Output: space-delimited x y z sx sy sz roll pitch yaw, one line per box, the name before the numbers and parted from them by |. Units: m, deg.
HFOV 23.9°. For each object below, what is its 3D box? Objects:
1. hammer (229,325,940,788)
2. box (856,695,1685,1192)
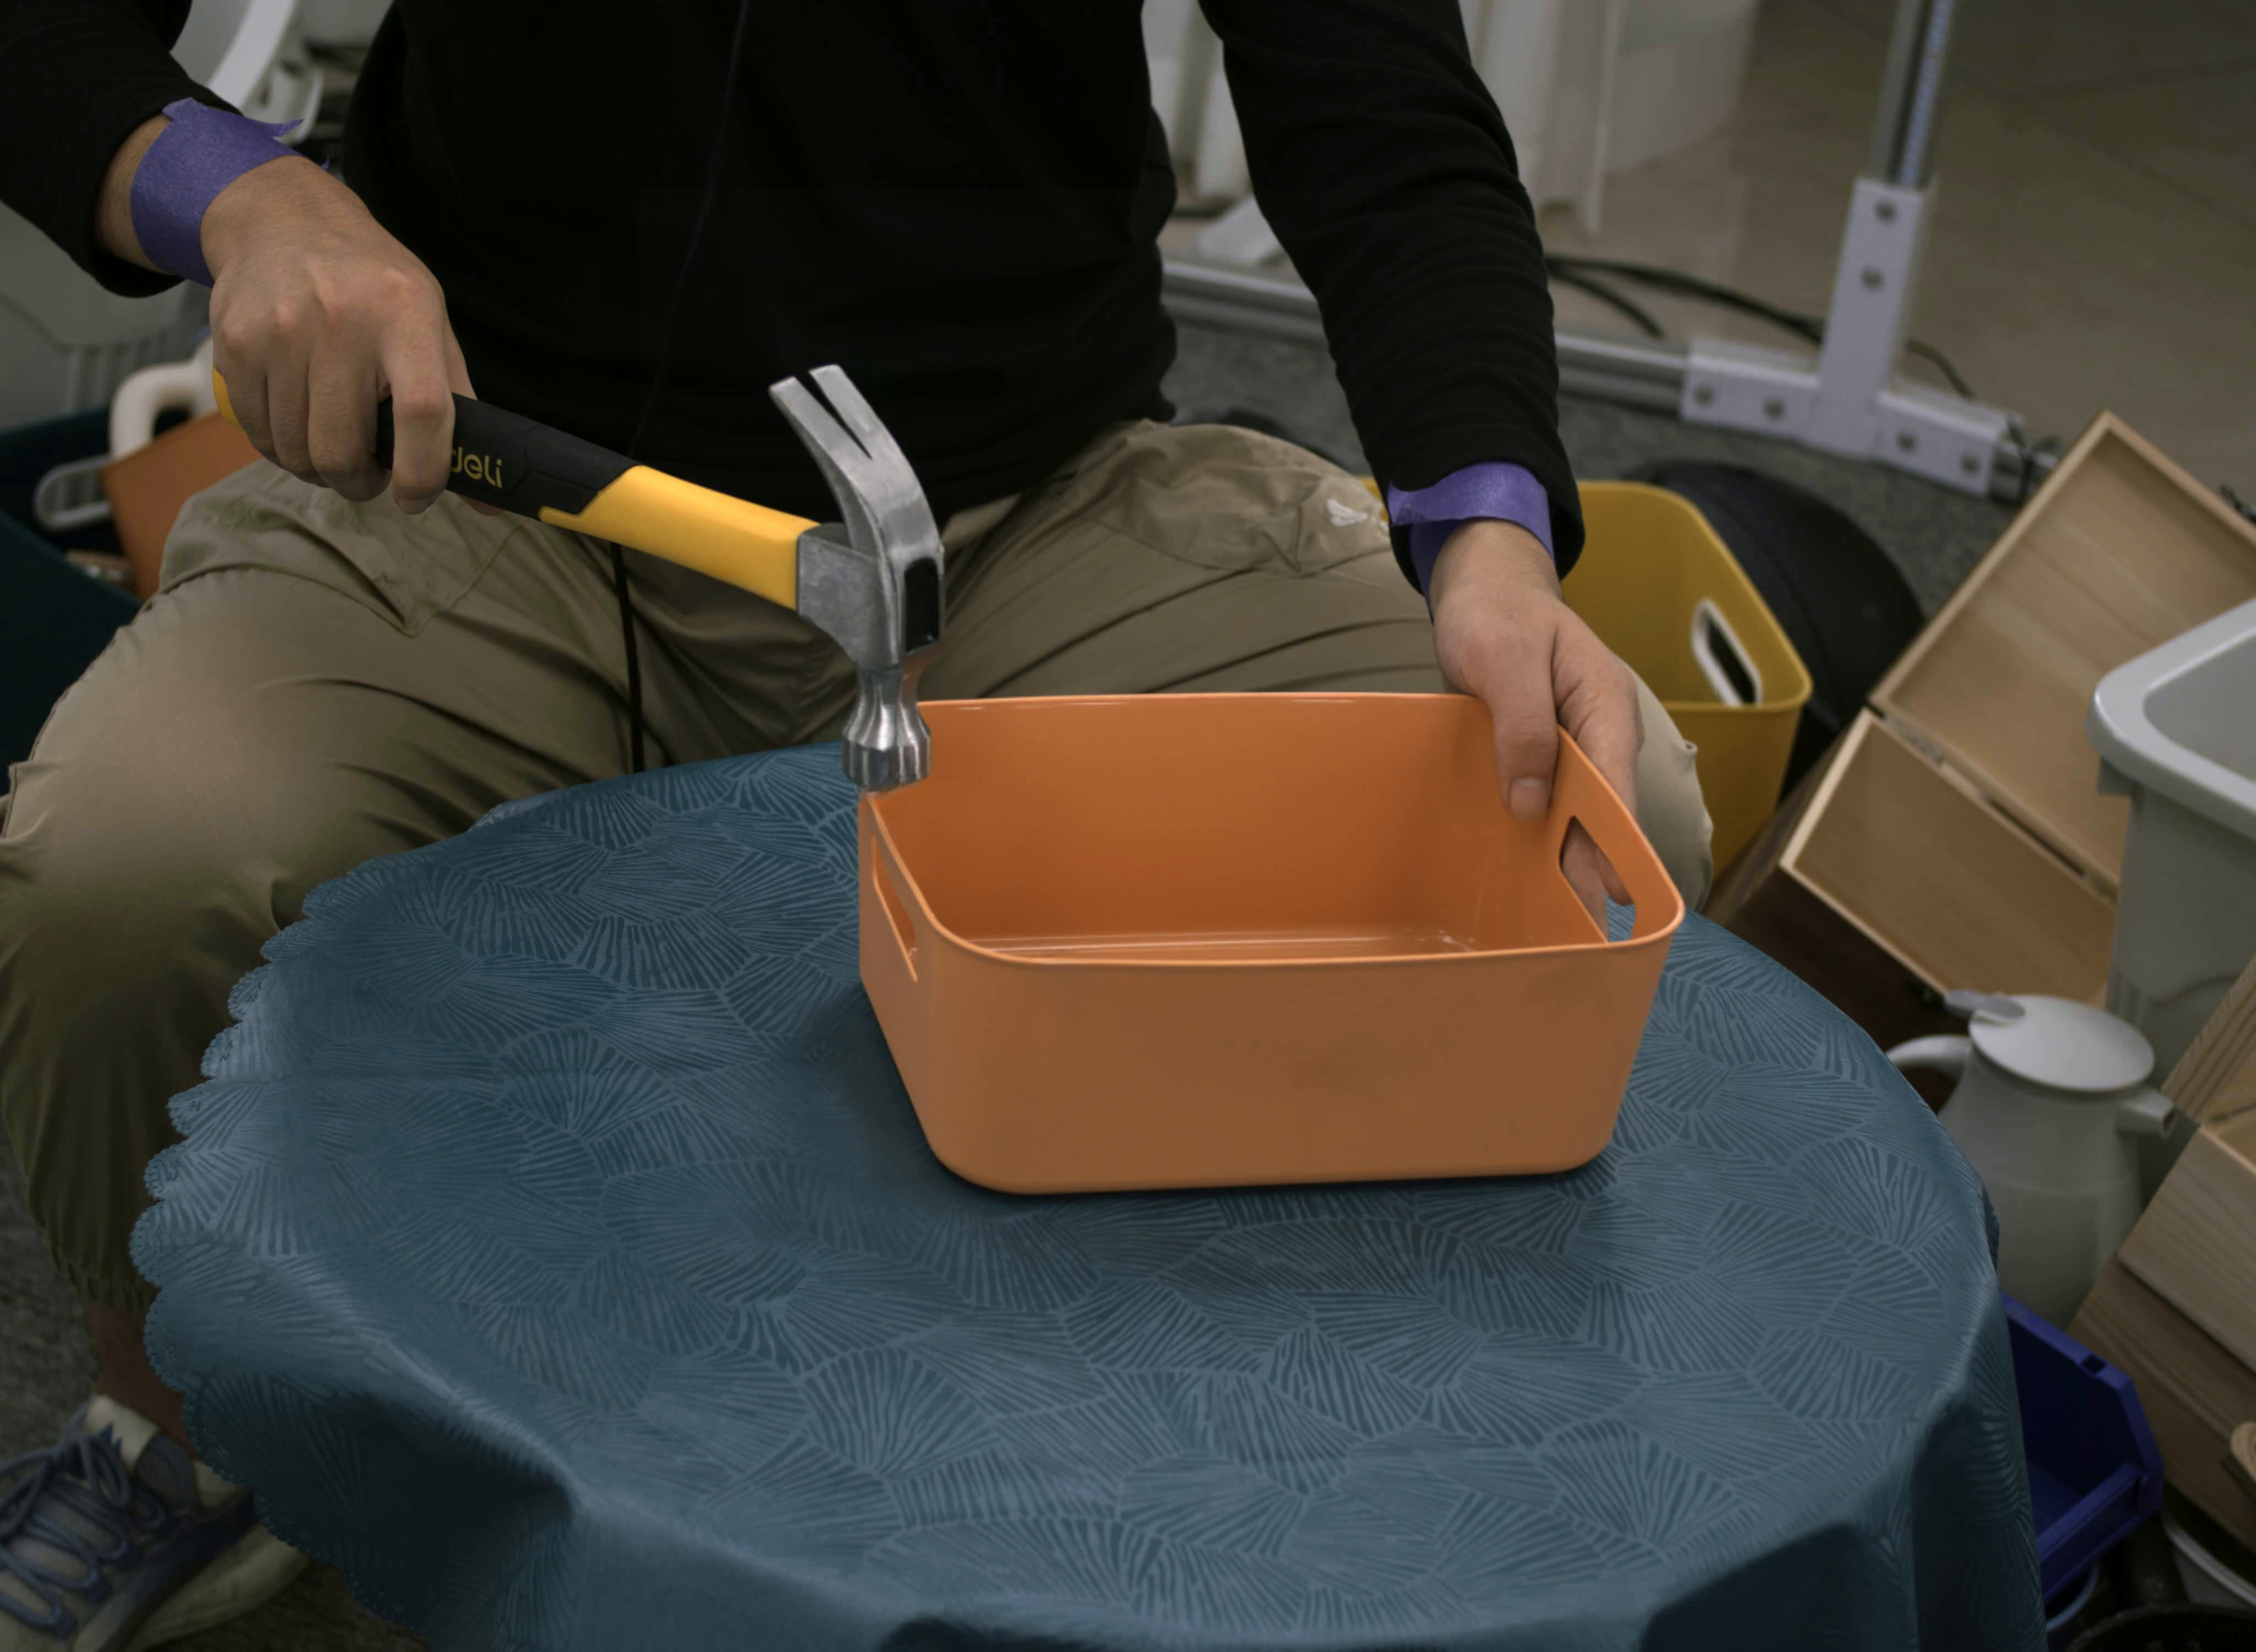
hammer | -0.195 -0.120 1.851 0.341 0.131 0.032 20 28 38
box | 0.041 0.041 1.864 0.271 0.102 0.201 -1 27 -16
